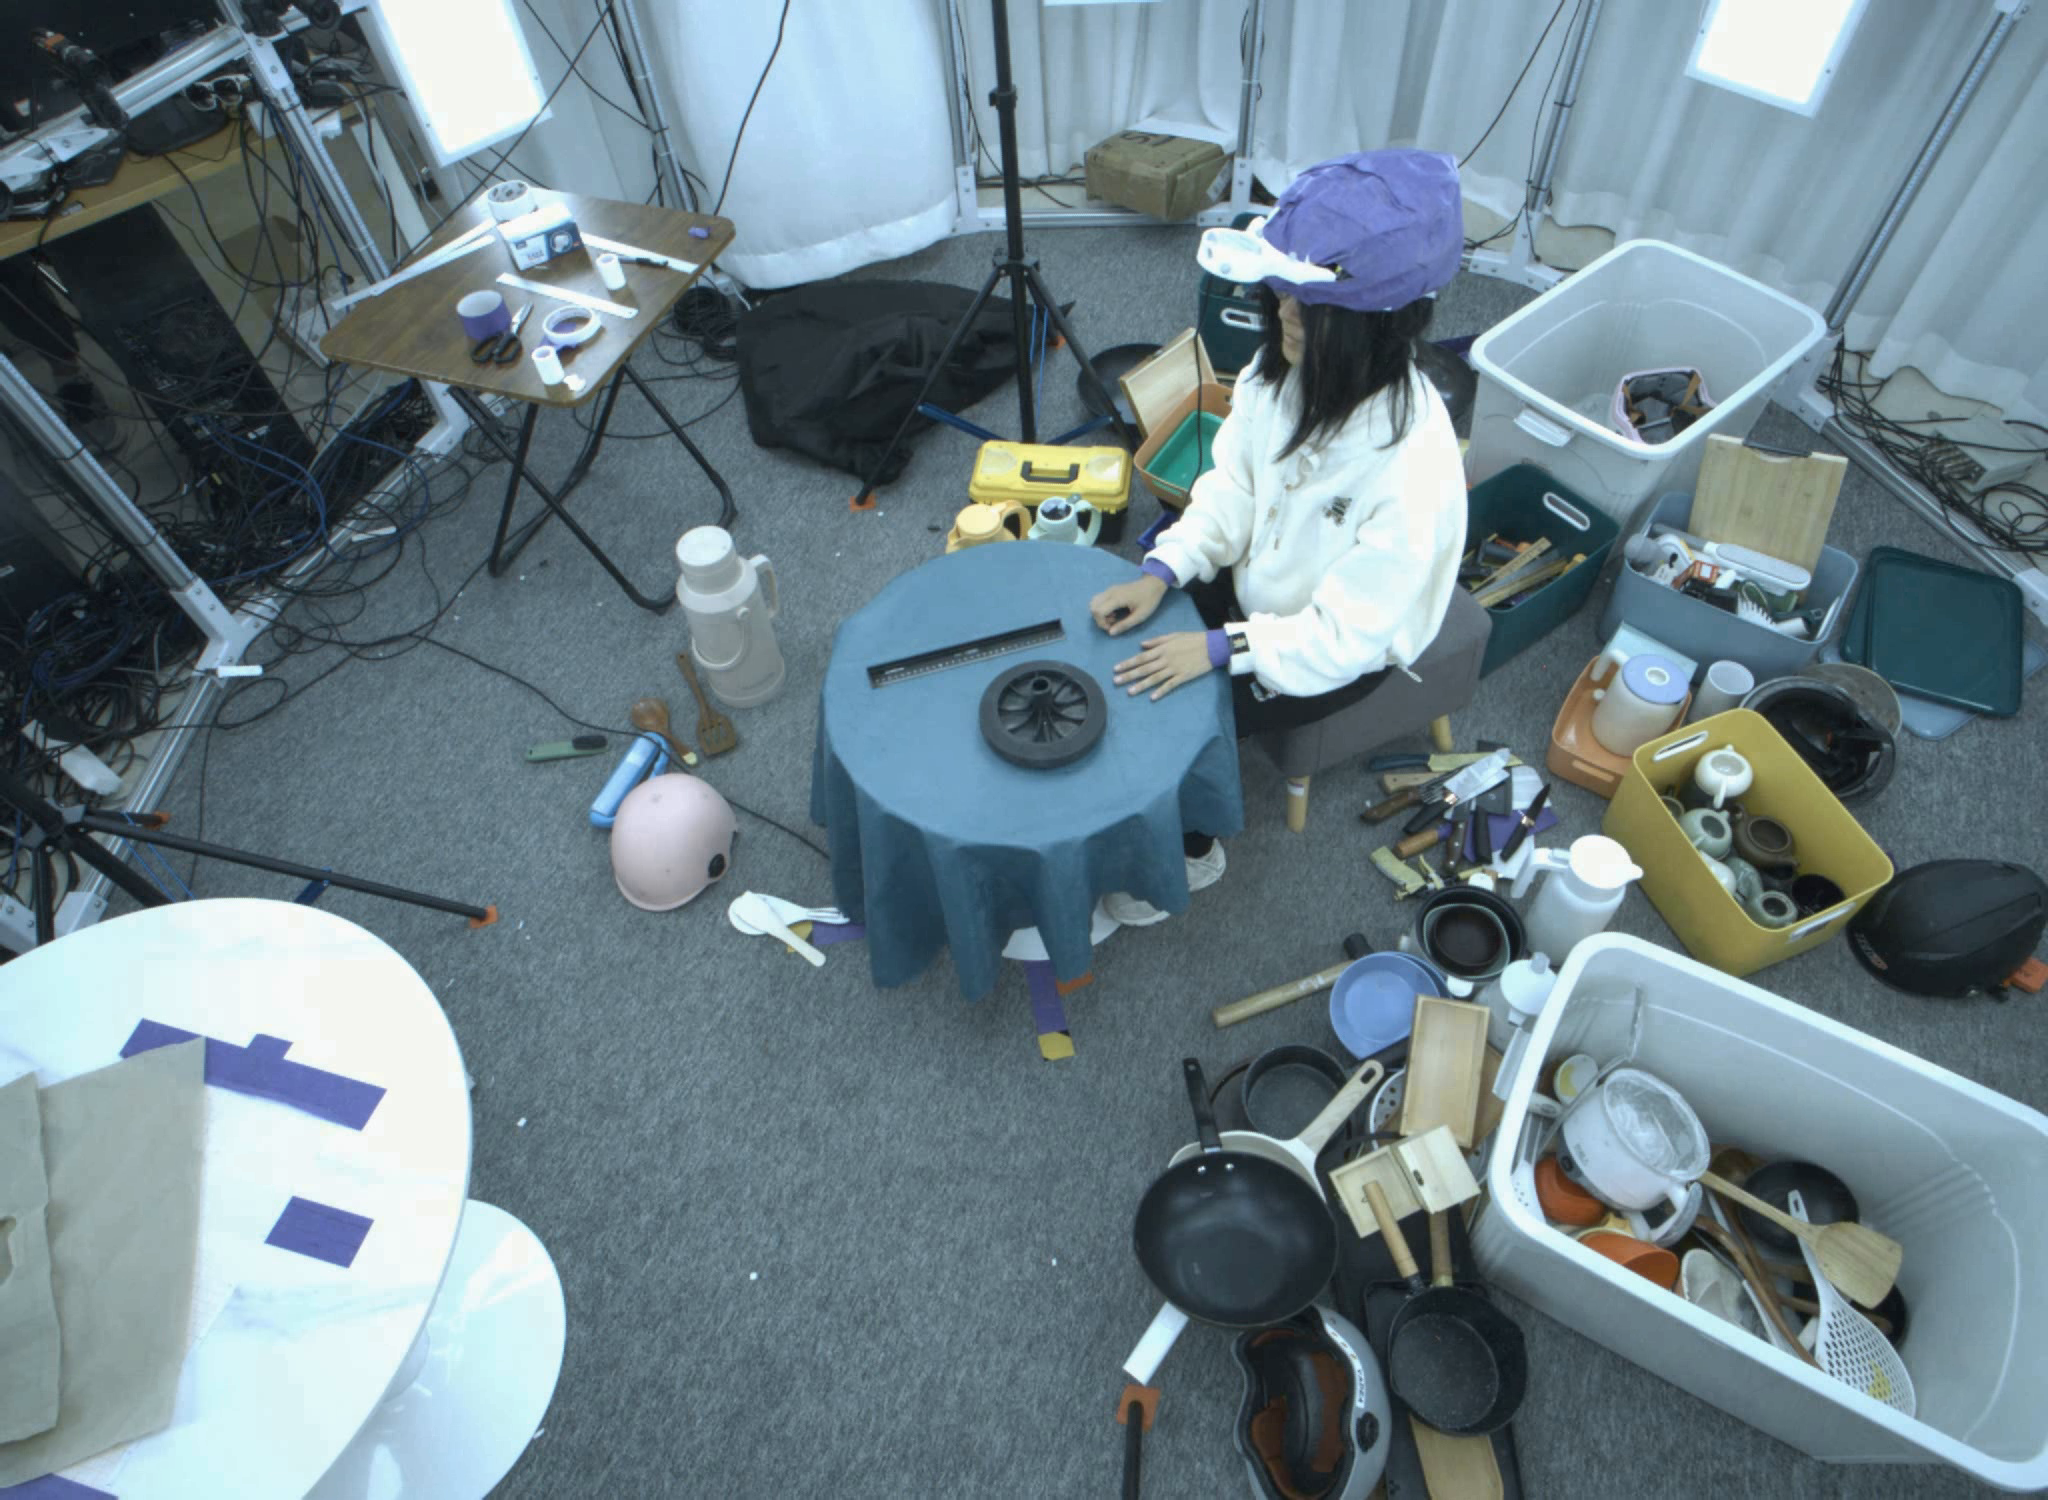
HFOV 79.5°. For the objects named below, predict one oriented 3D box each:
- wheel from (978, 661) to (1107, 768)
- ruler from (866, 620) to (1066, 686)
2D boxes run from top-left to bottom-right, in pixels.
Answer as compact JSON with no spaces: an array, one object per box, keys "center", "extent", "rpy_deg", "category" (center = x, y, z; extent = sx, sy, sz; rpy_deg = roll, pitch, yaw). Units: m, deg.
[{"center":[0.026,-0.067,1.787],"extent":[0.189,0.080,0.186],"rpy_deg":[-27,58,-16],"category":"wheel"},{"center":[-0.089,-0.152,1.888],"extent":[0.314,0.017,0.038],"rpy_deg":[-14,59,-8],"category":"ruler"}]
